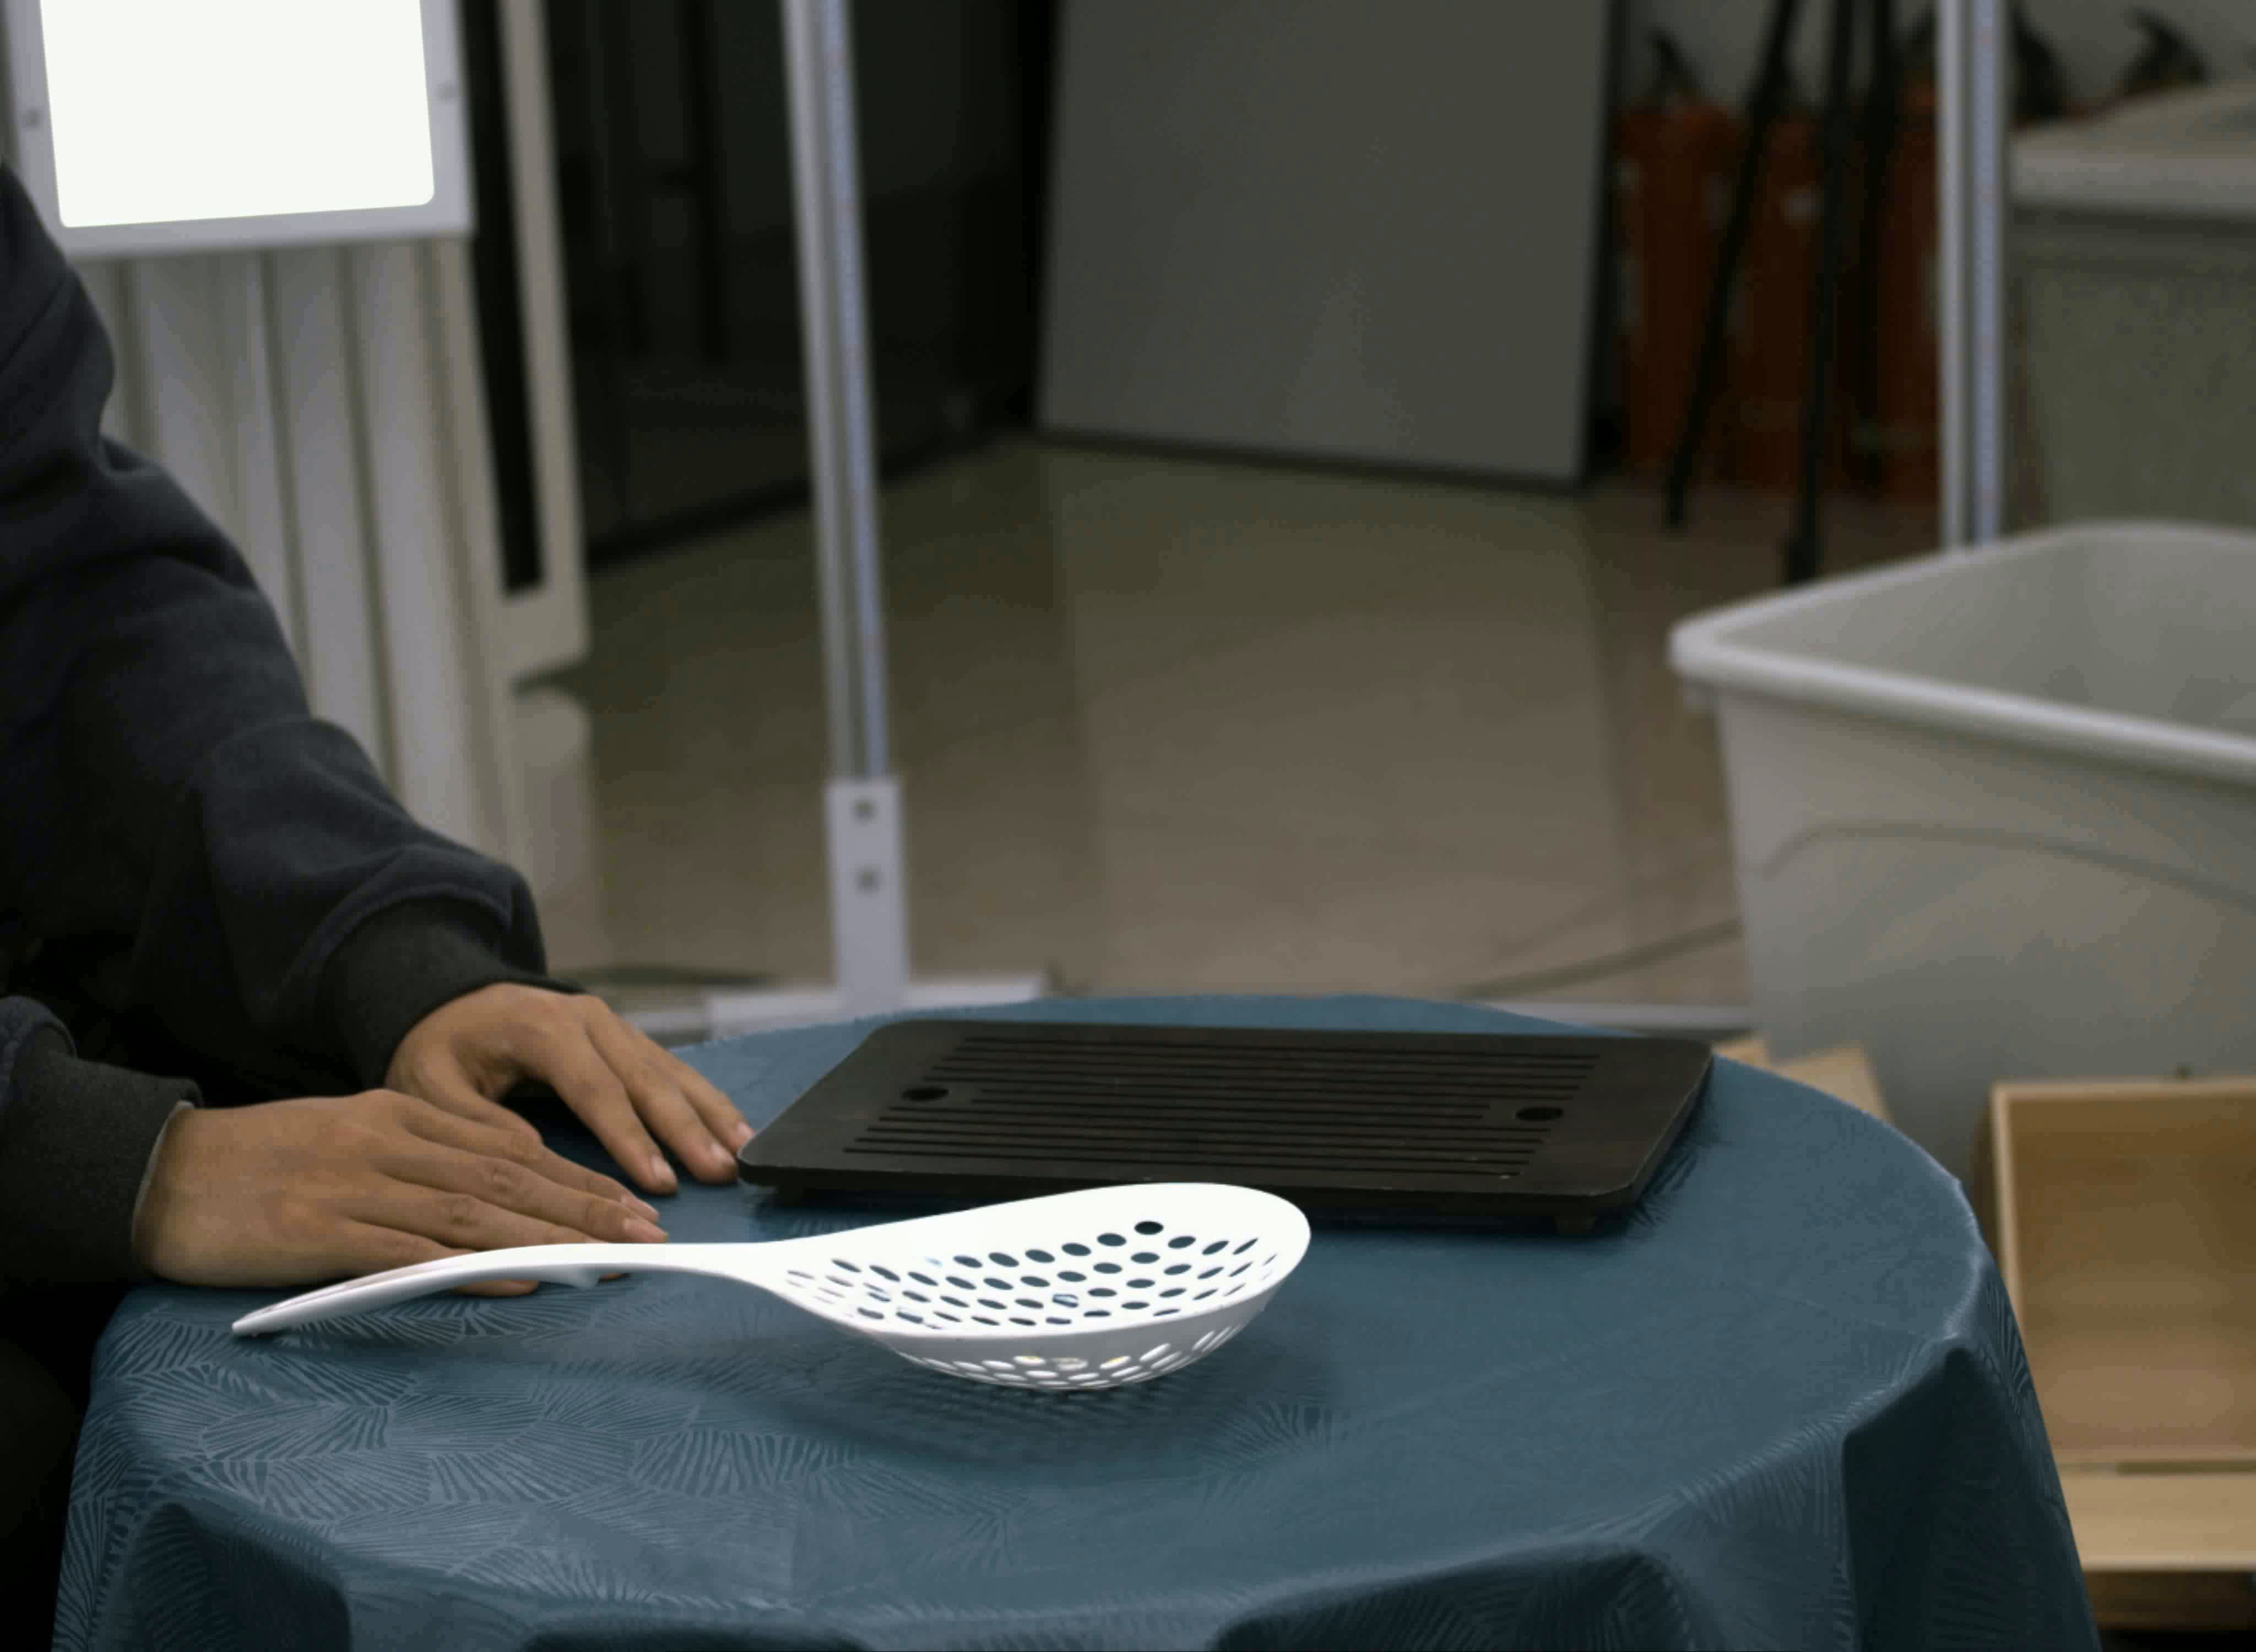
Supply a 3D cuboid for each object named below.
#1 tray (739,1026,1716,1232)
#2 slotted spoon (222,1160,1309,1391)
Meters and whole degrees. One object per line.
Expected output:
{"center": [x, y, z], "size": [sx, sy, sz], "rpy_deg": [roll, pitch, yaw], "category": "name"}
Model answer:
{"center": [0.036, 0.100, 1.807], "size": [0.305, 0.019, 0.168], "rpy_deg": [0, 14, 18], "category": "tray"}
{"center": [-0.113, 0.142, 1.629], "size": [0.347, 0.051, 0.136], "rpy_deg": [1, 16, 18], "category": "slotted spoon"}
